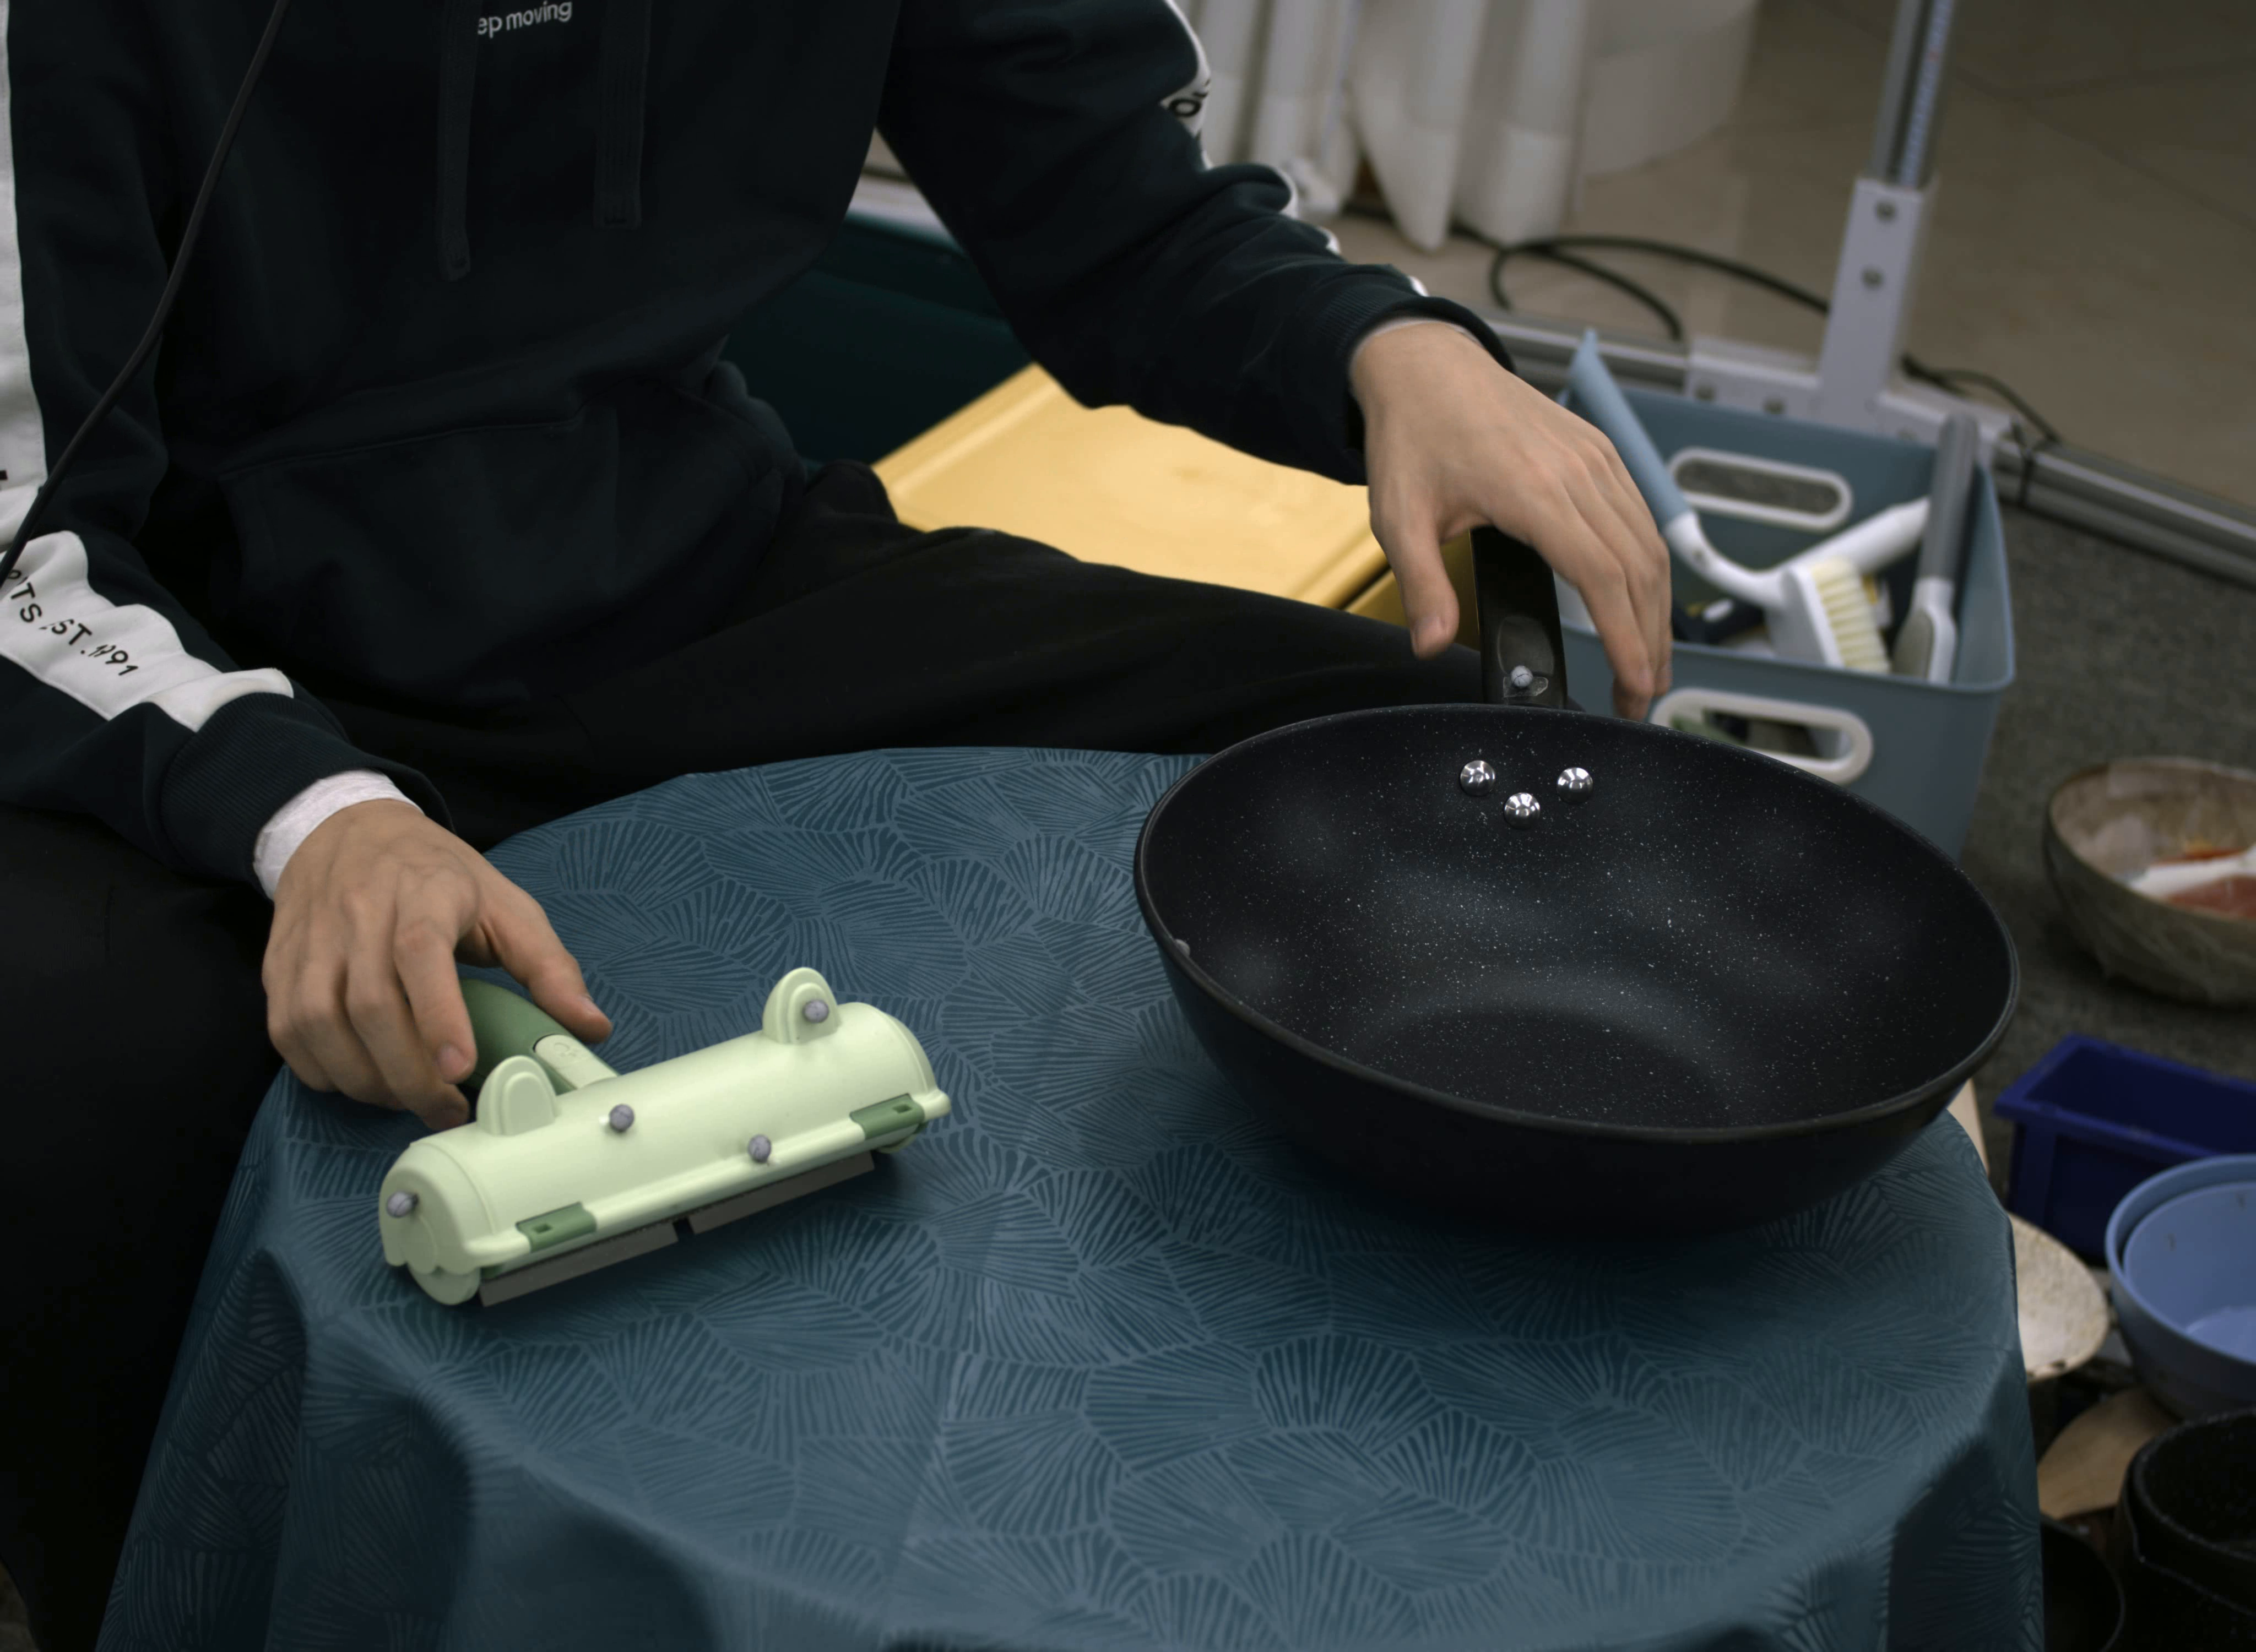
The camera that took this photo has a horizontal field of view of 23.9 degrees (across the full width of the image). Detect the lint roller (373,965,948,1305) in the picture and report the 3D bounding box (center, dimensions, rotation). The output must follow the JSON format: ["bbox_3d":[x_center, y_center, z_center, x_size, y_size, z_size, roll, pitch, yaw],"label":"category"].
[{"bbox_3d":[-0.187,0.073,1.772,0.197,0.082,0.185,-17,40,-38],"label":"lint roller"}]

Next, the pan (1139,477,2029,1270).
[{"bbox_3d":[0.150,0.020,1.919,0.309,0.111,0.480,5,27,-5],"label":"pan"}]
